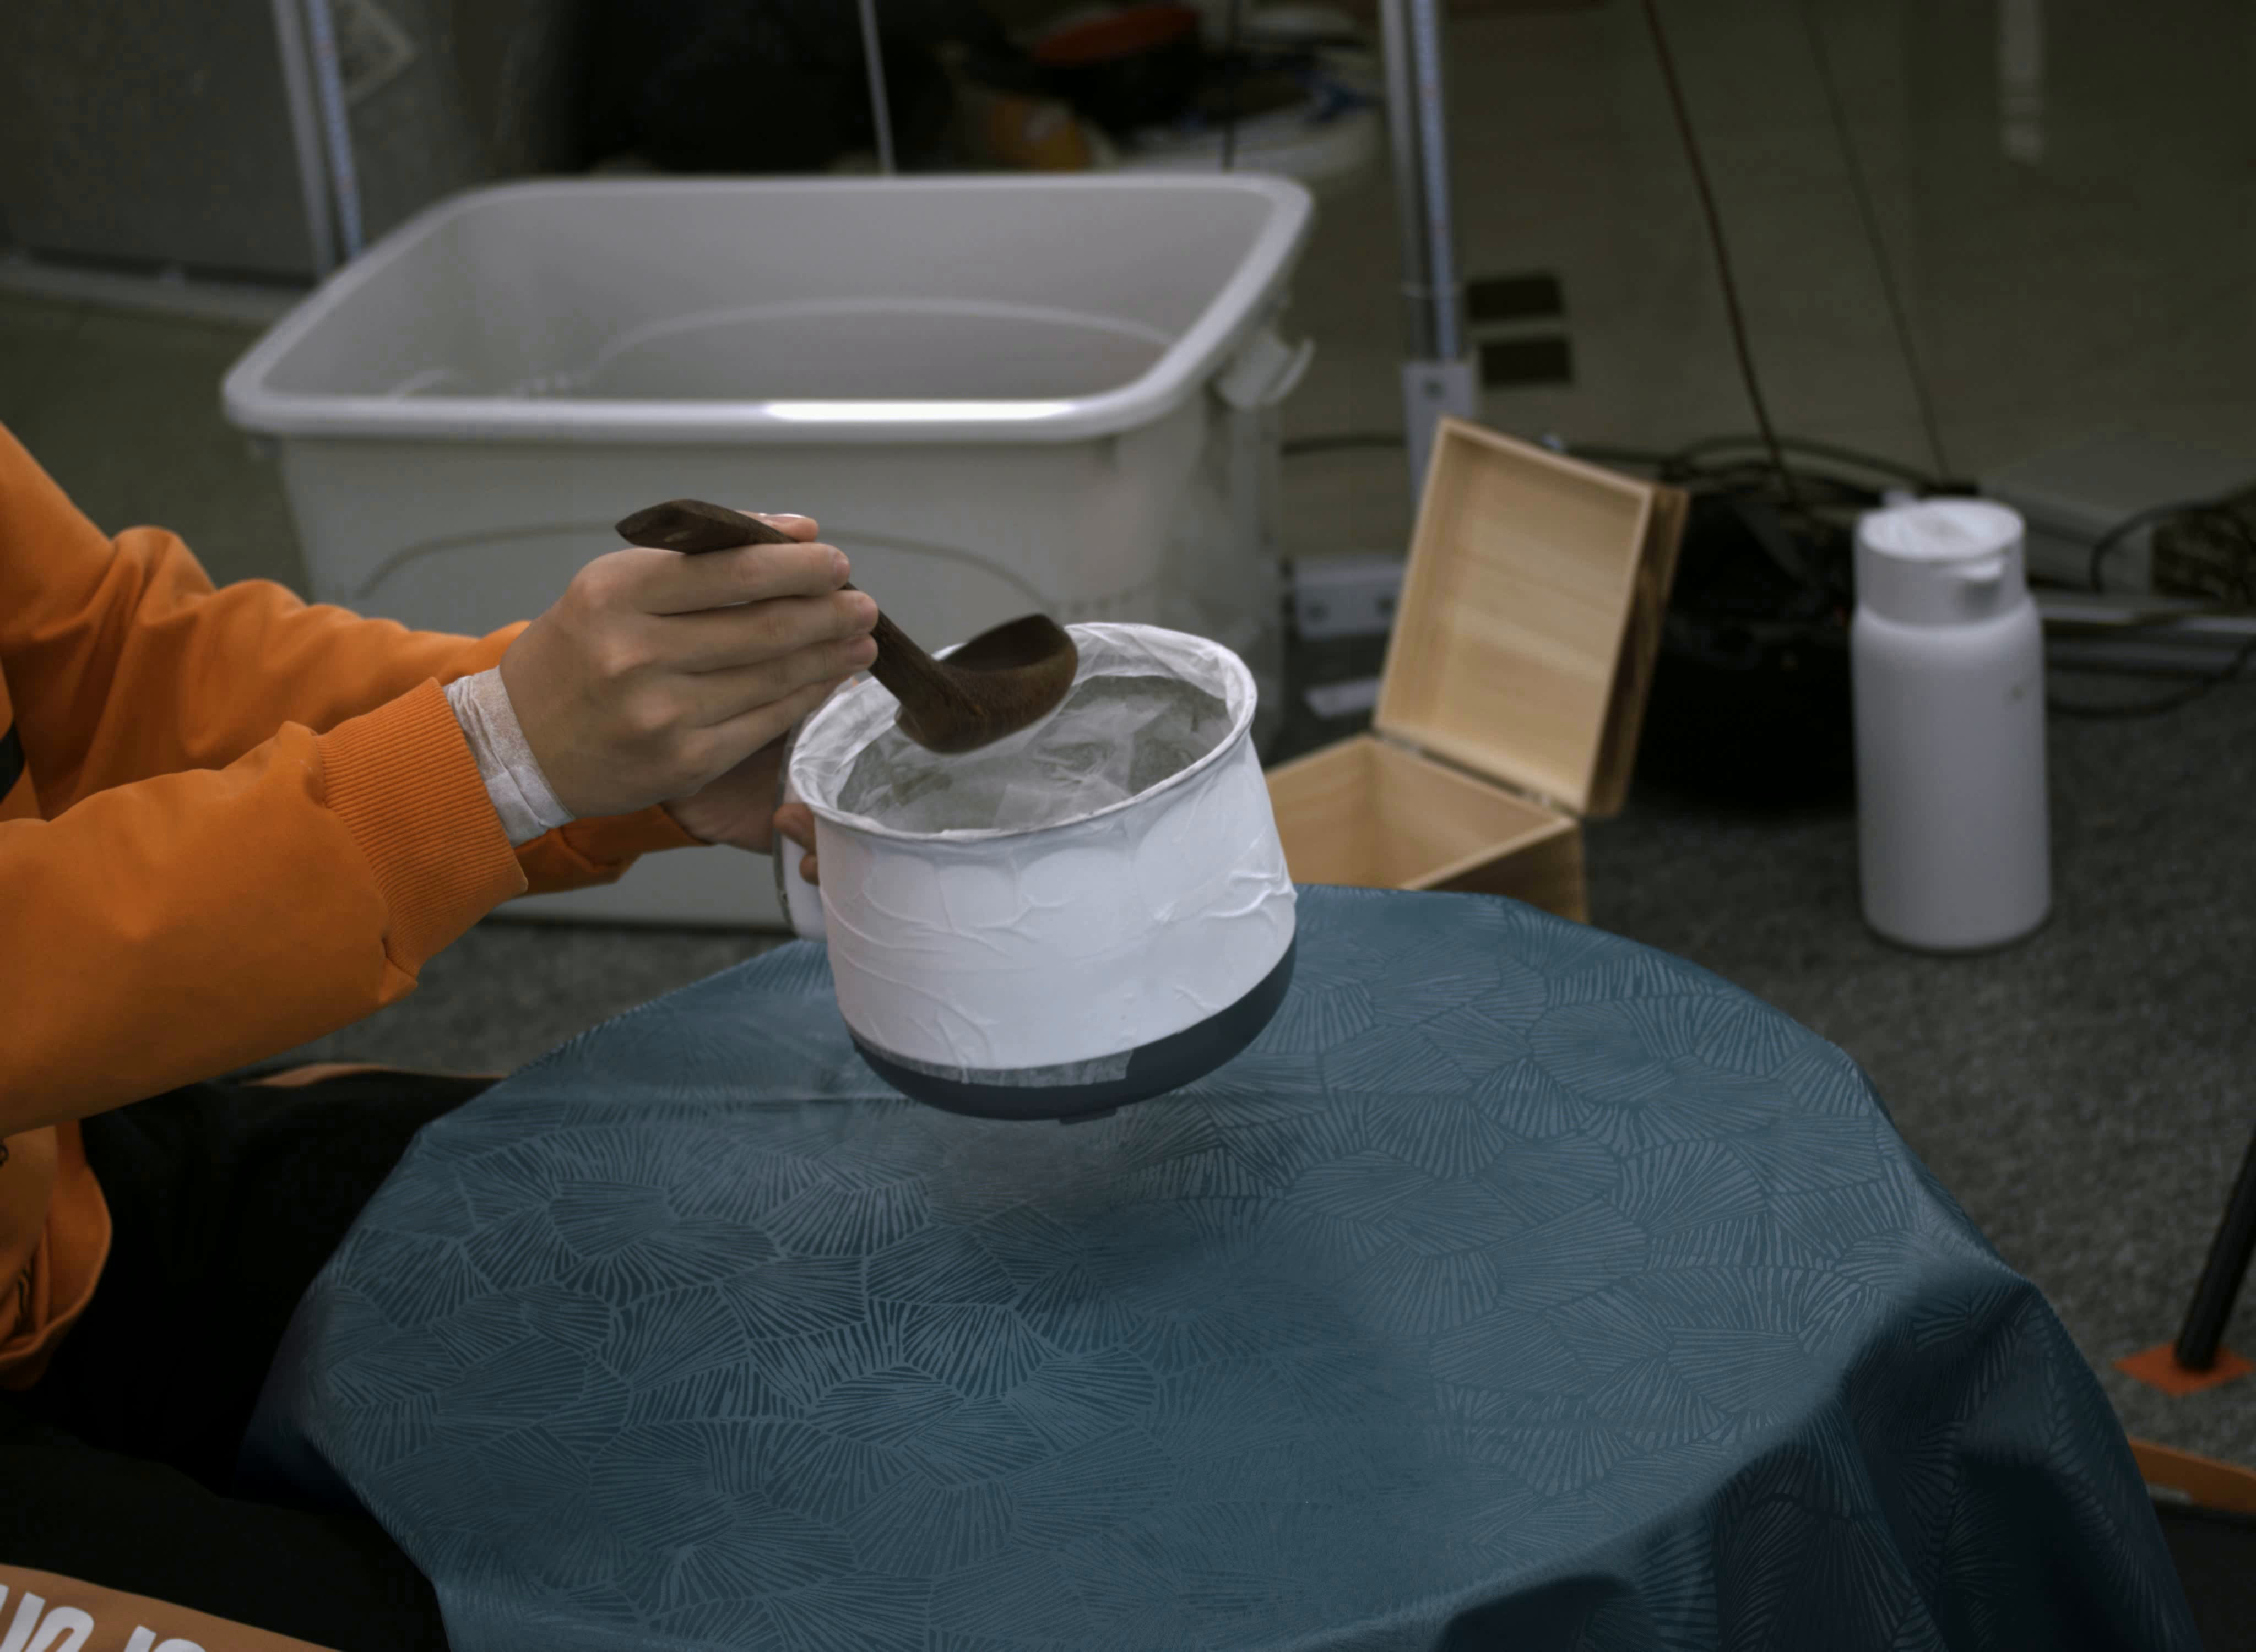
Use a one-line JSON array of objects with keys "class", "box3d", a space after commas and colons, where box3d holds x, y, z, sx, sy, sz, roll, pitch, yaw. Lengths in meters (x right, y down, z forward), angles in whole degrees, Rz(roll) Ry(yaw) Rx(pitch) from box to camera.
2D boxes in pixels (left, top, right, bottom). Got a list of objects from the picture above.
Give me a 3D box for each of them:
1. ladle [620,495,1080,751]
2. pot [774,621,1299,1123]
[{"class": "ladle", "box3d": [-0.102, -0.089, 1.985, 0.076, 0.277, 0.070, -26, 62, 19]}, {"class": "pot", "box3d": [-0.049, 0.014, 2.144, 0.232, 0.139, 0.177, 13, 35, 39]}]
